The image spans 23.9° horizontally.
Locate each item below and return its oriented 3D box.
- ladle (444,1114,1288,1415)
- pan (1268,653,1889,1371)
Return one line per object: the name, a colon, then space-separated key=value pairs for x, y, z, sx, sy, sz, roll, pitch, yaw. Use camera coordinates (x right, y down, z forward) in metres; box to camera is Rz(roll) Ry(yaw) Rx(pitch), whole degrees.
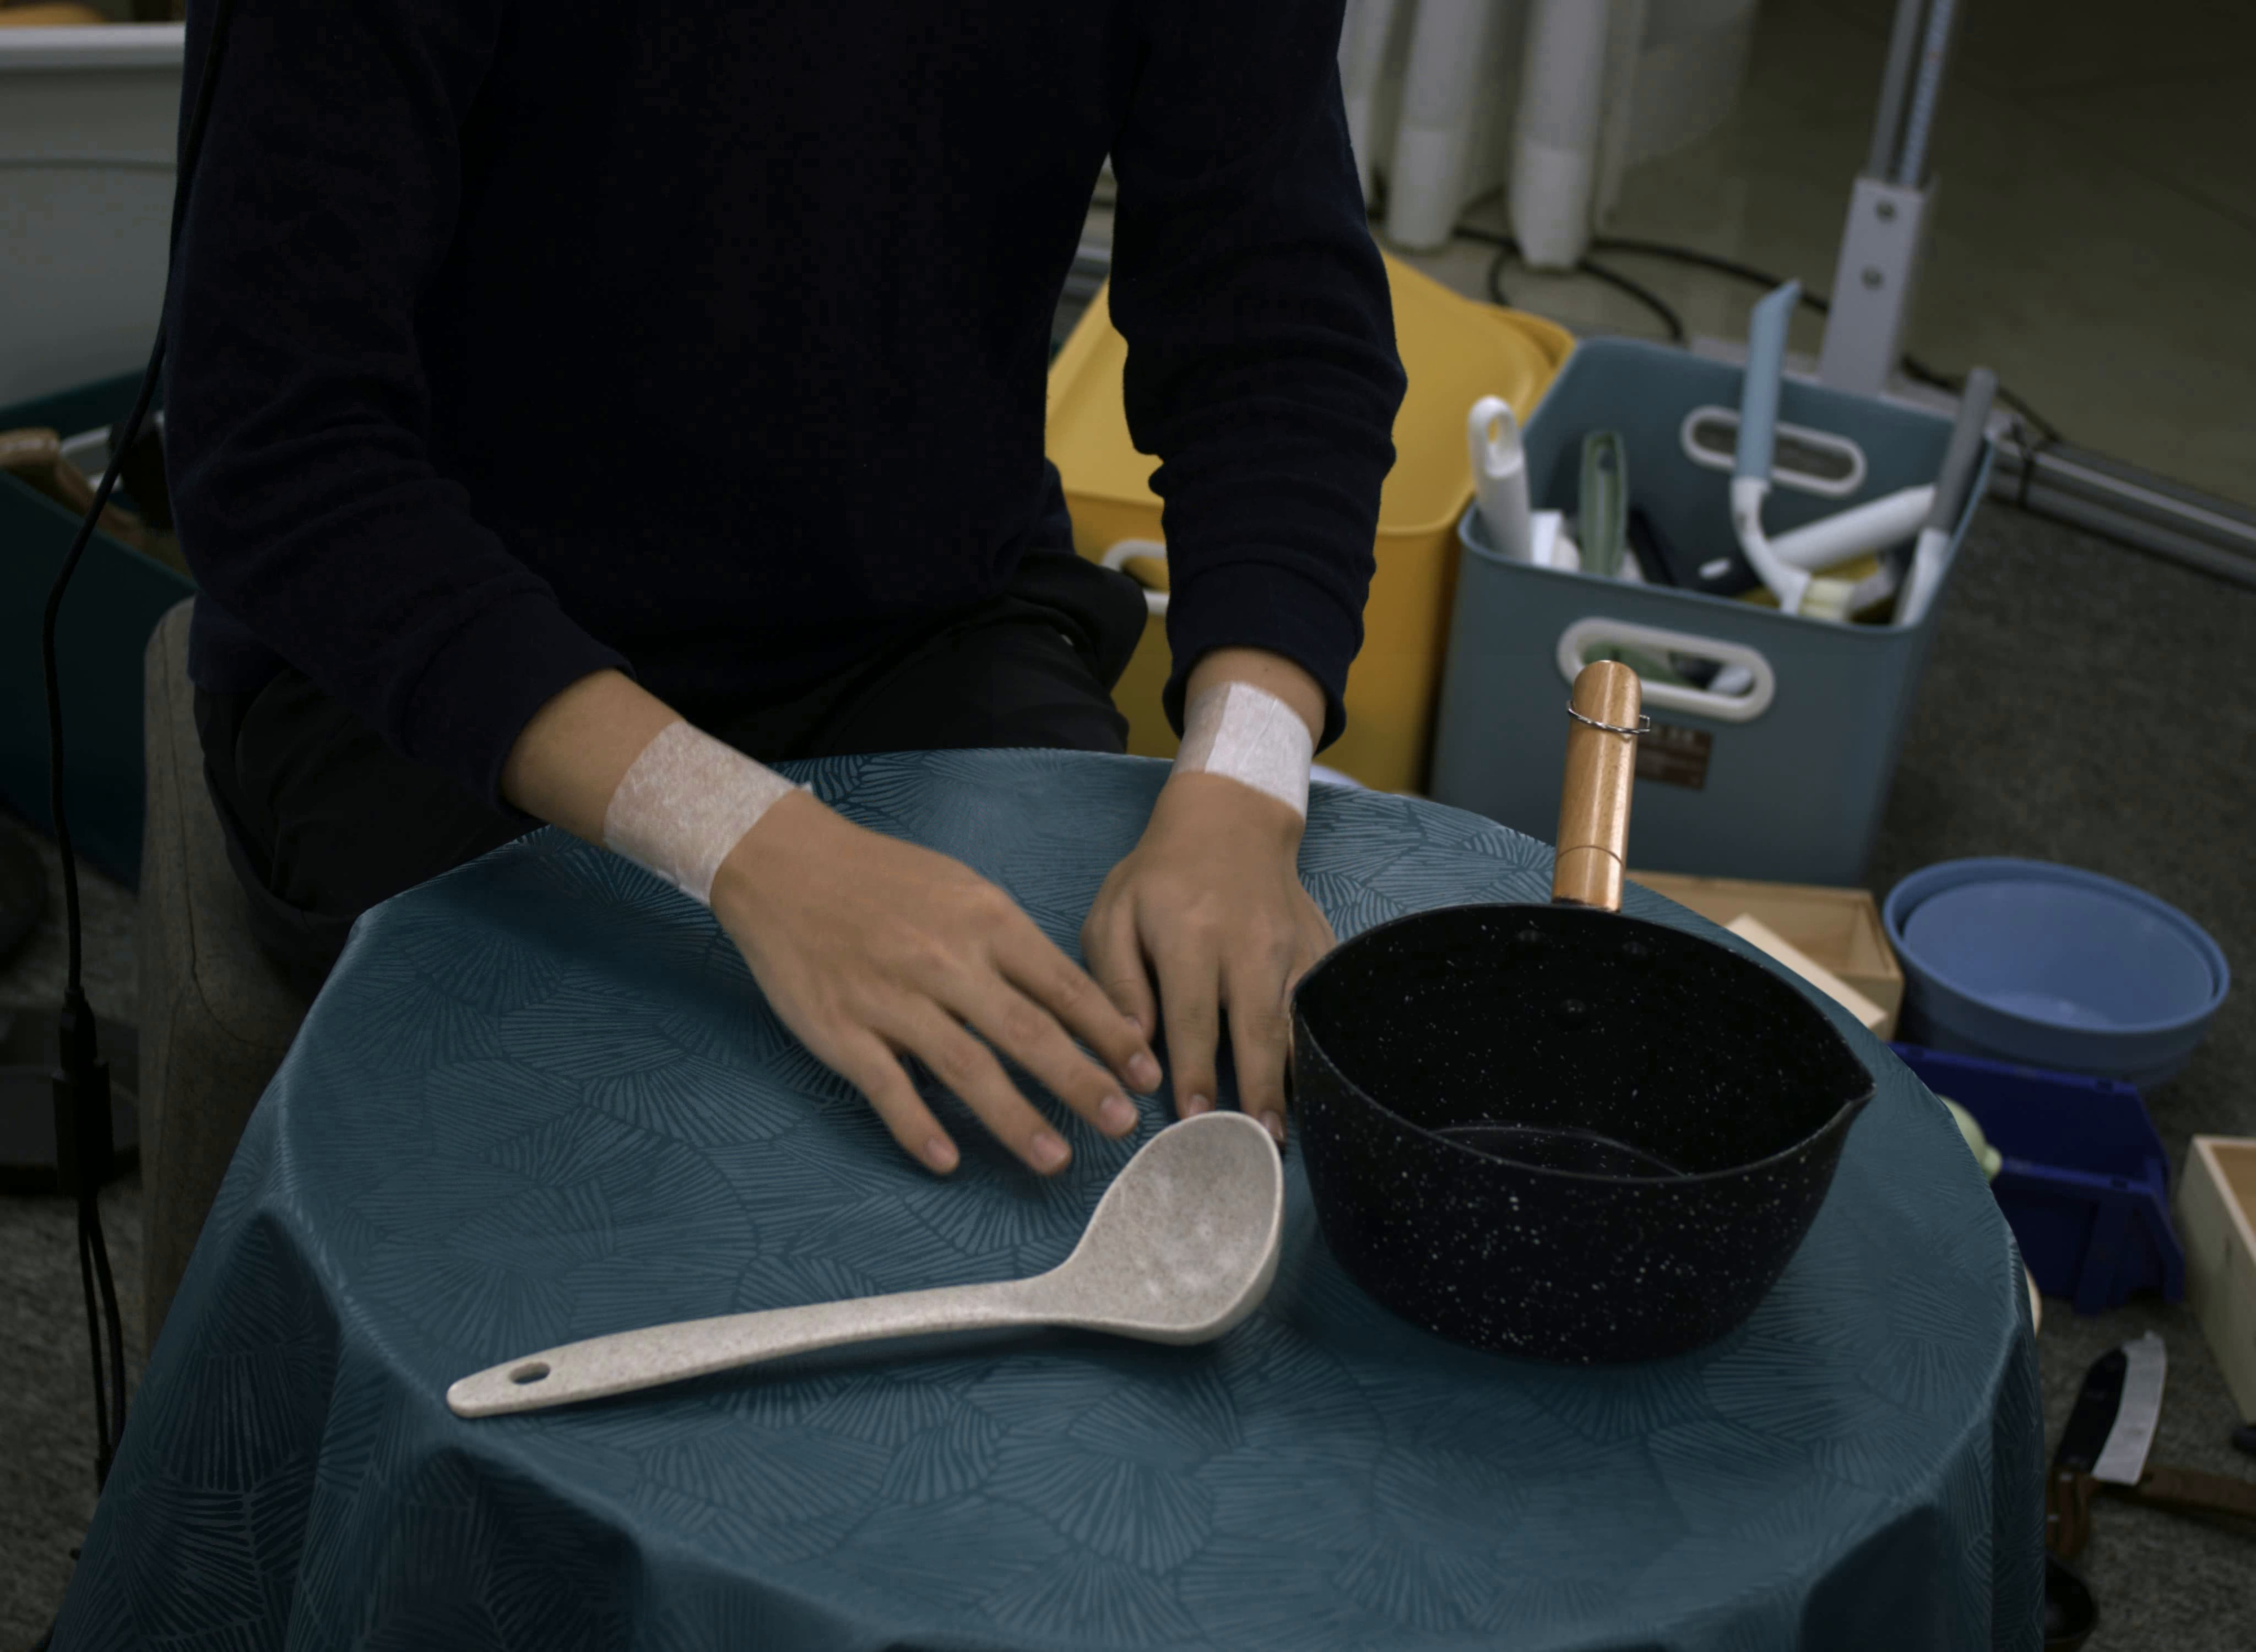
ladle: x=-0.080 y=0.140 z=1.678 sx=0.273 sy=0.069 sz=0.090 roll=-5 pitch=34 yaw=-22
pan: x=0.153 y=0.060 z=1.843 sx=0.207 sy=0.108 sz=0.344 roll=7 pitch=28 yaw=3
